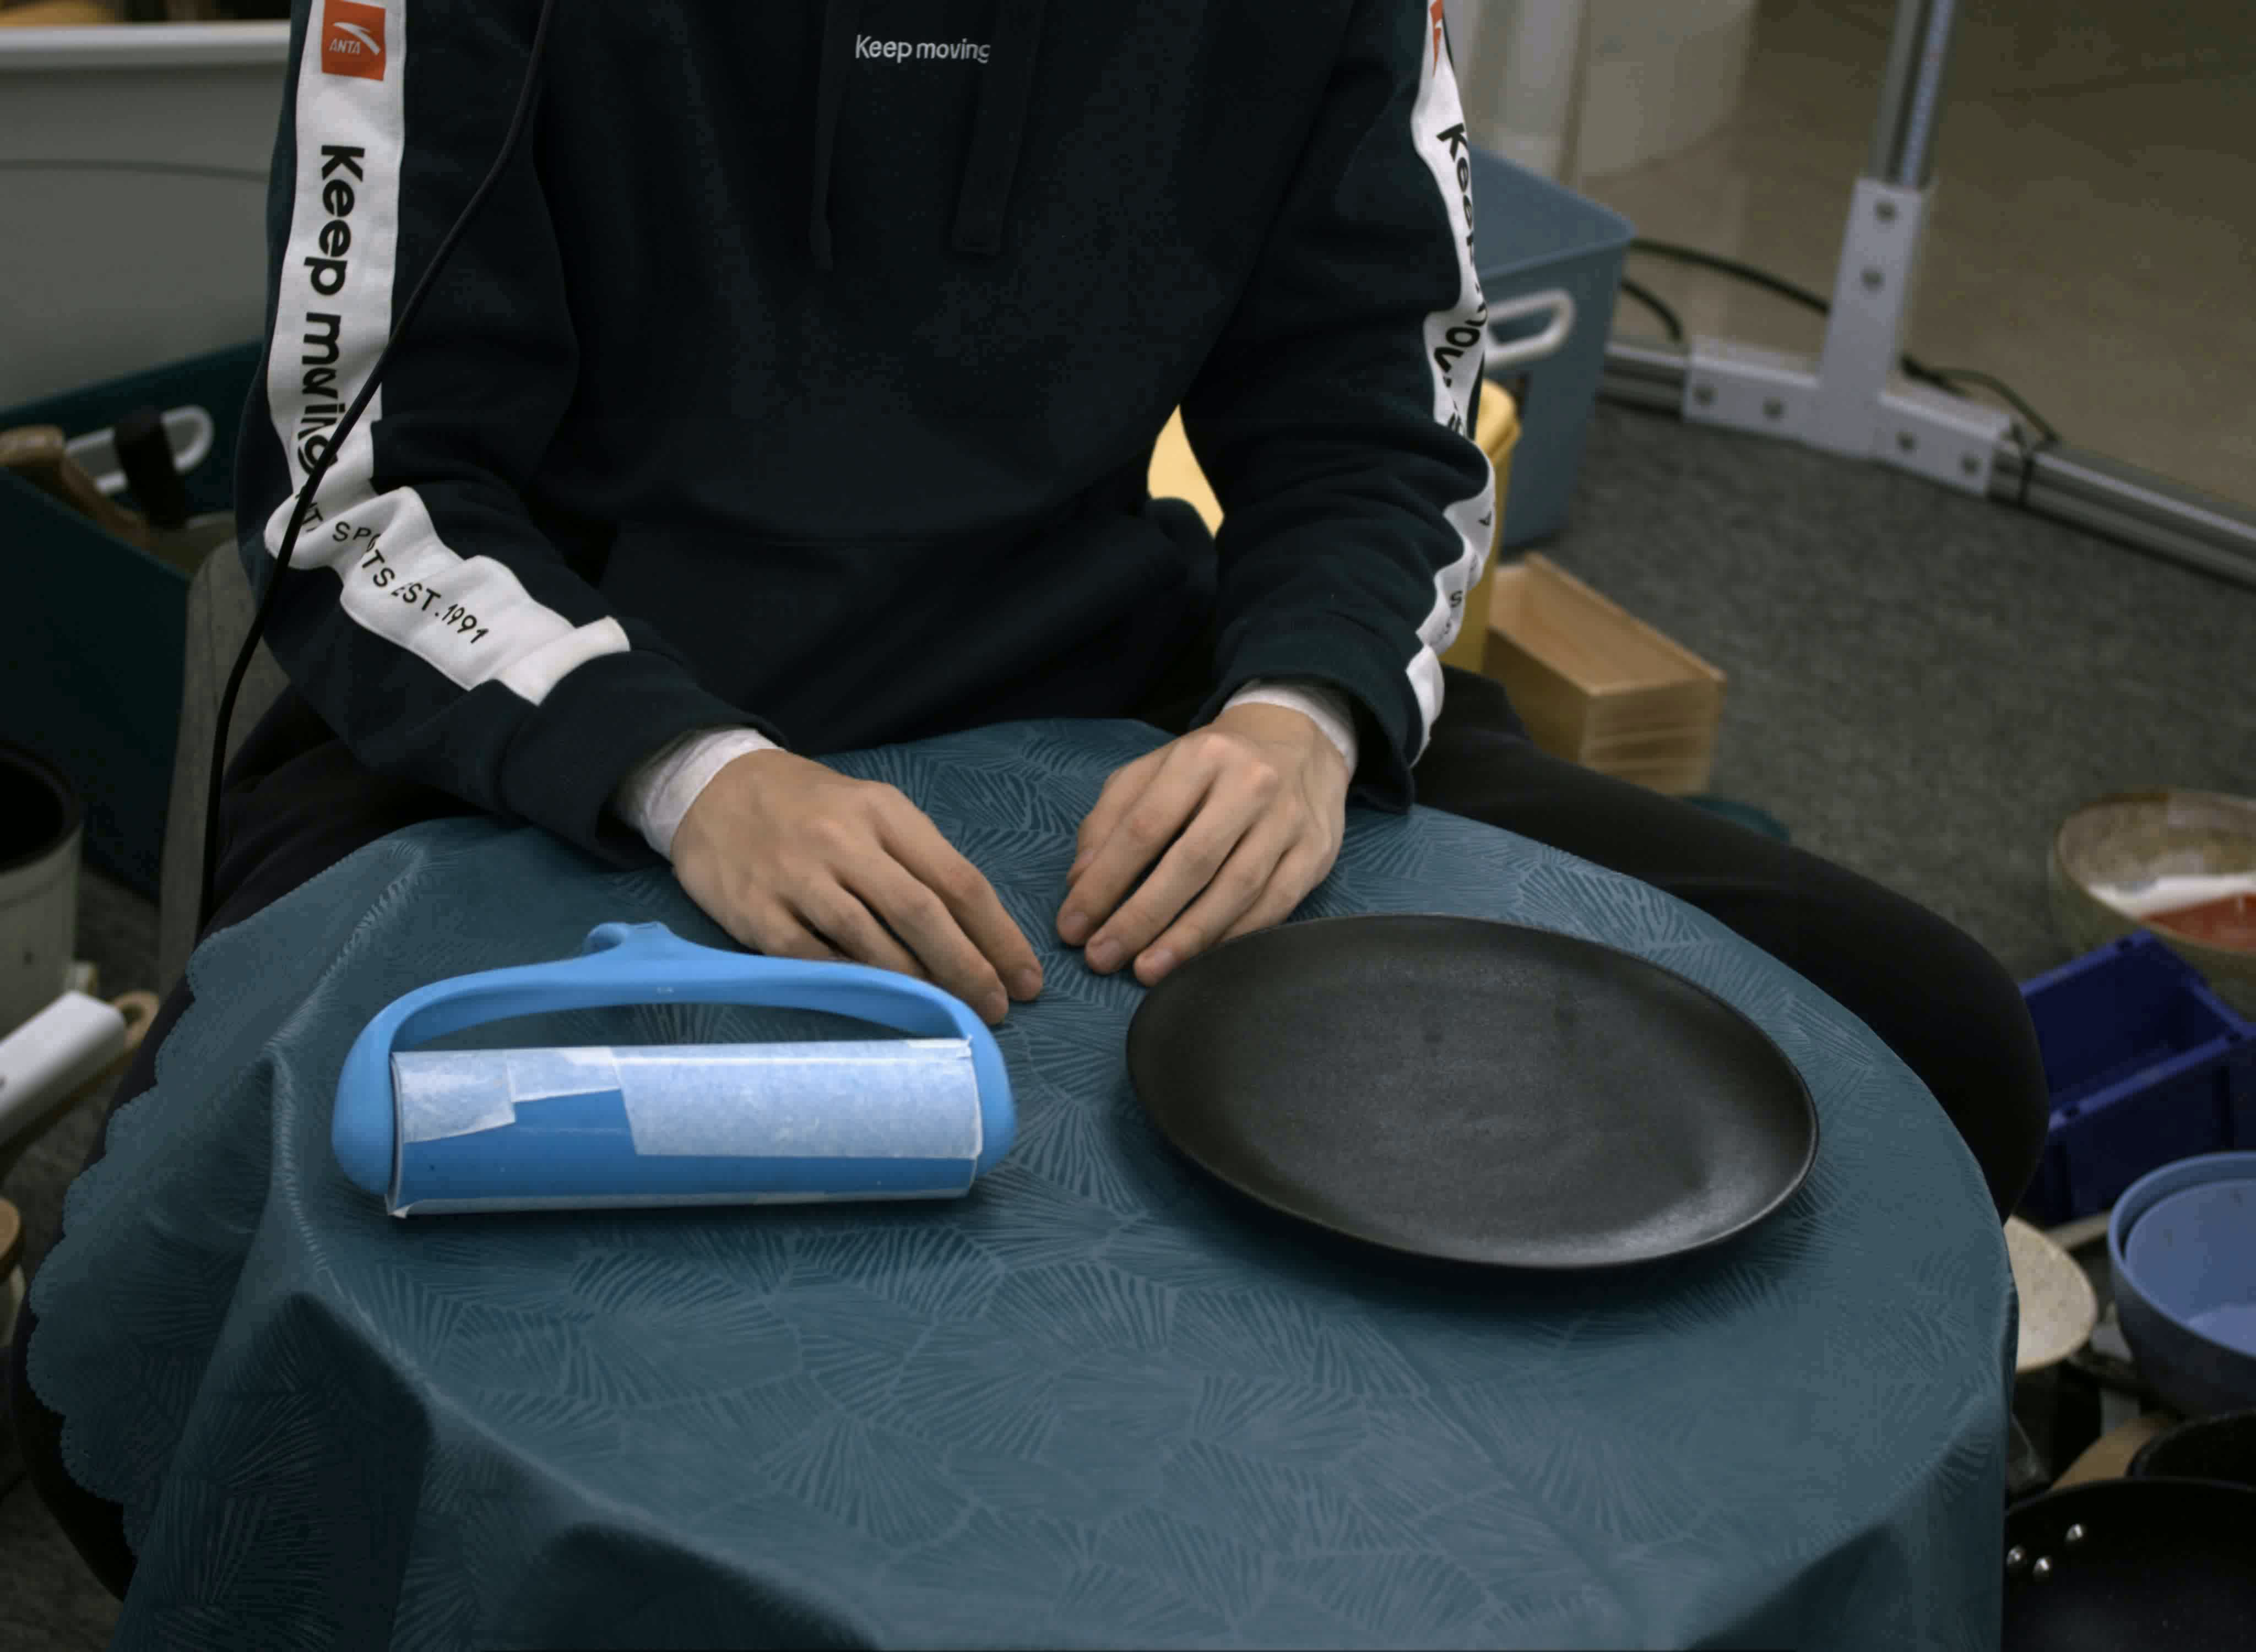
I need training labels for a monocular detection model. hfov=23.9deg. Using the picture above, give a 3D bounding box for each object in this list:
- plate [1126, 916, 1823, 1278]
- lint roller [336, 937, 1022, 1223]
[{"bbox_3d":[0.119,0.099,1.849,0.243,0.023,0.246,5,27,-3],"label":"plate"},{"bbox_3d":[-0.163,0.072,1.803,0.227,0.068,0.182,-3,29,-16],"label":"lint roller"}]
